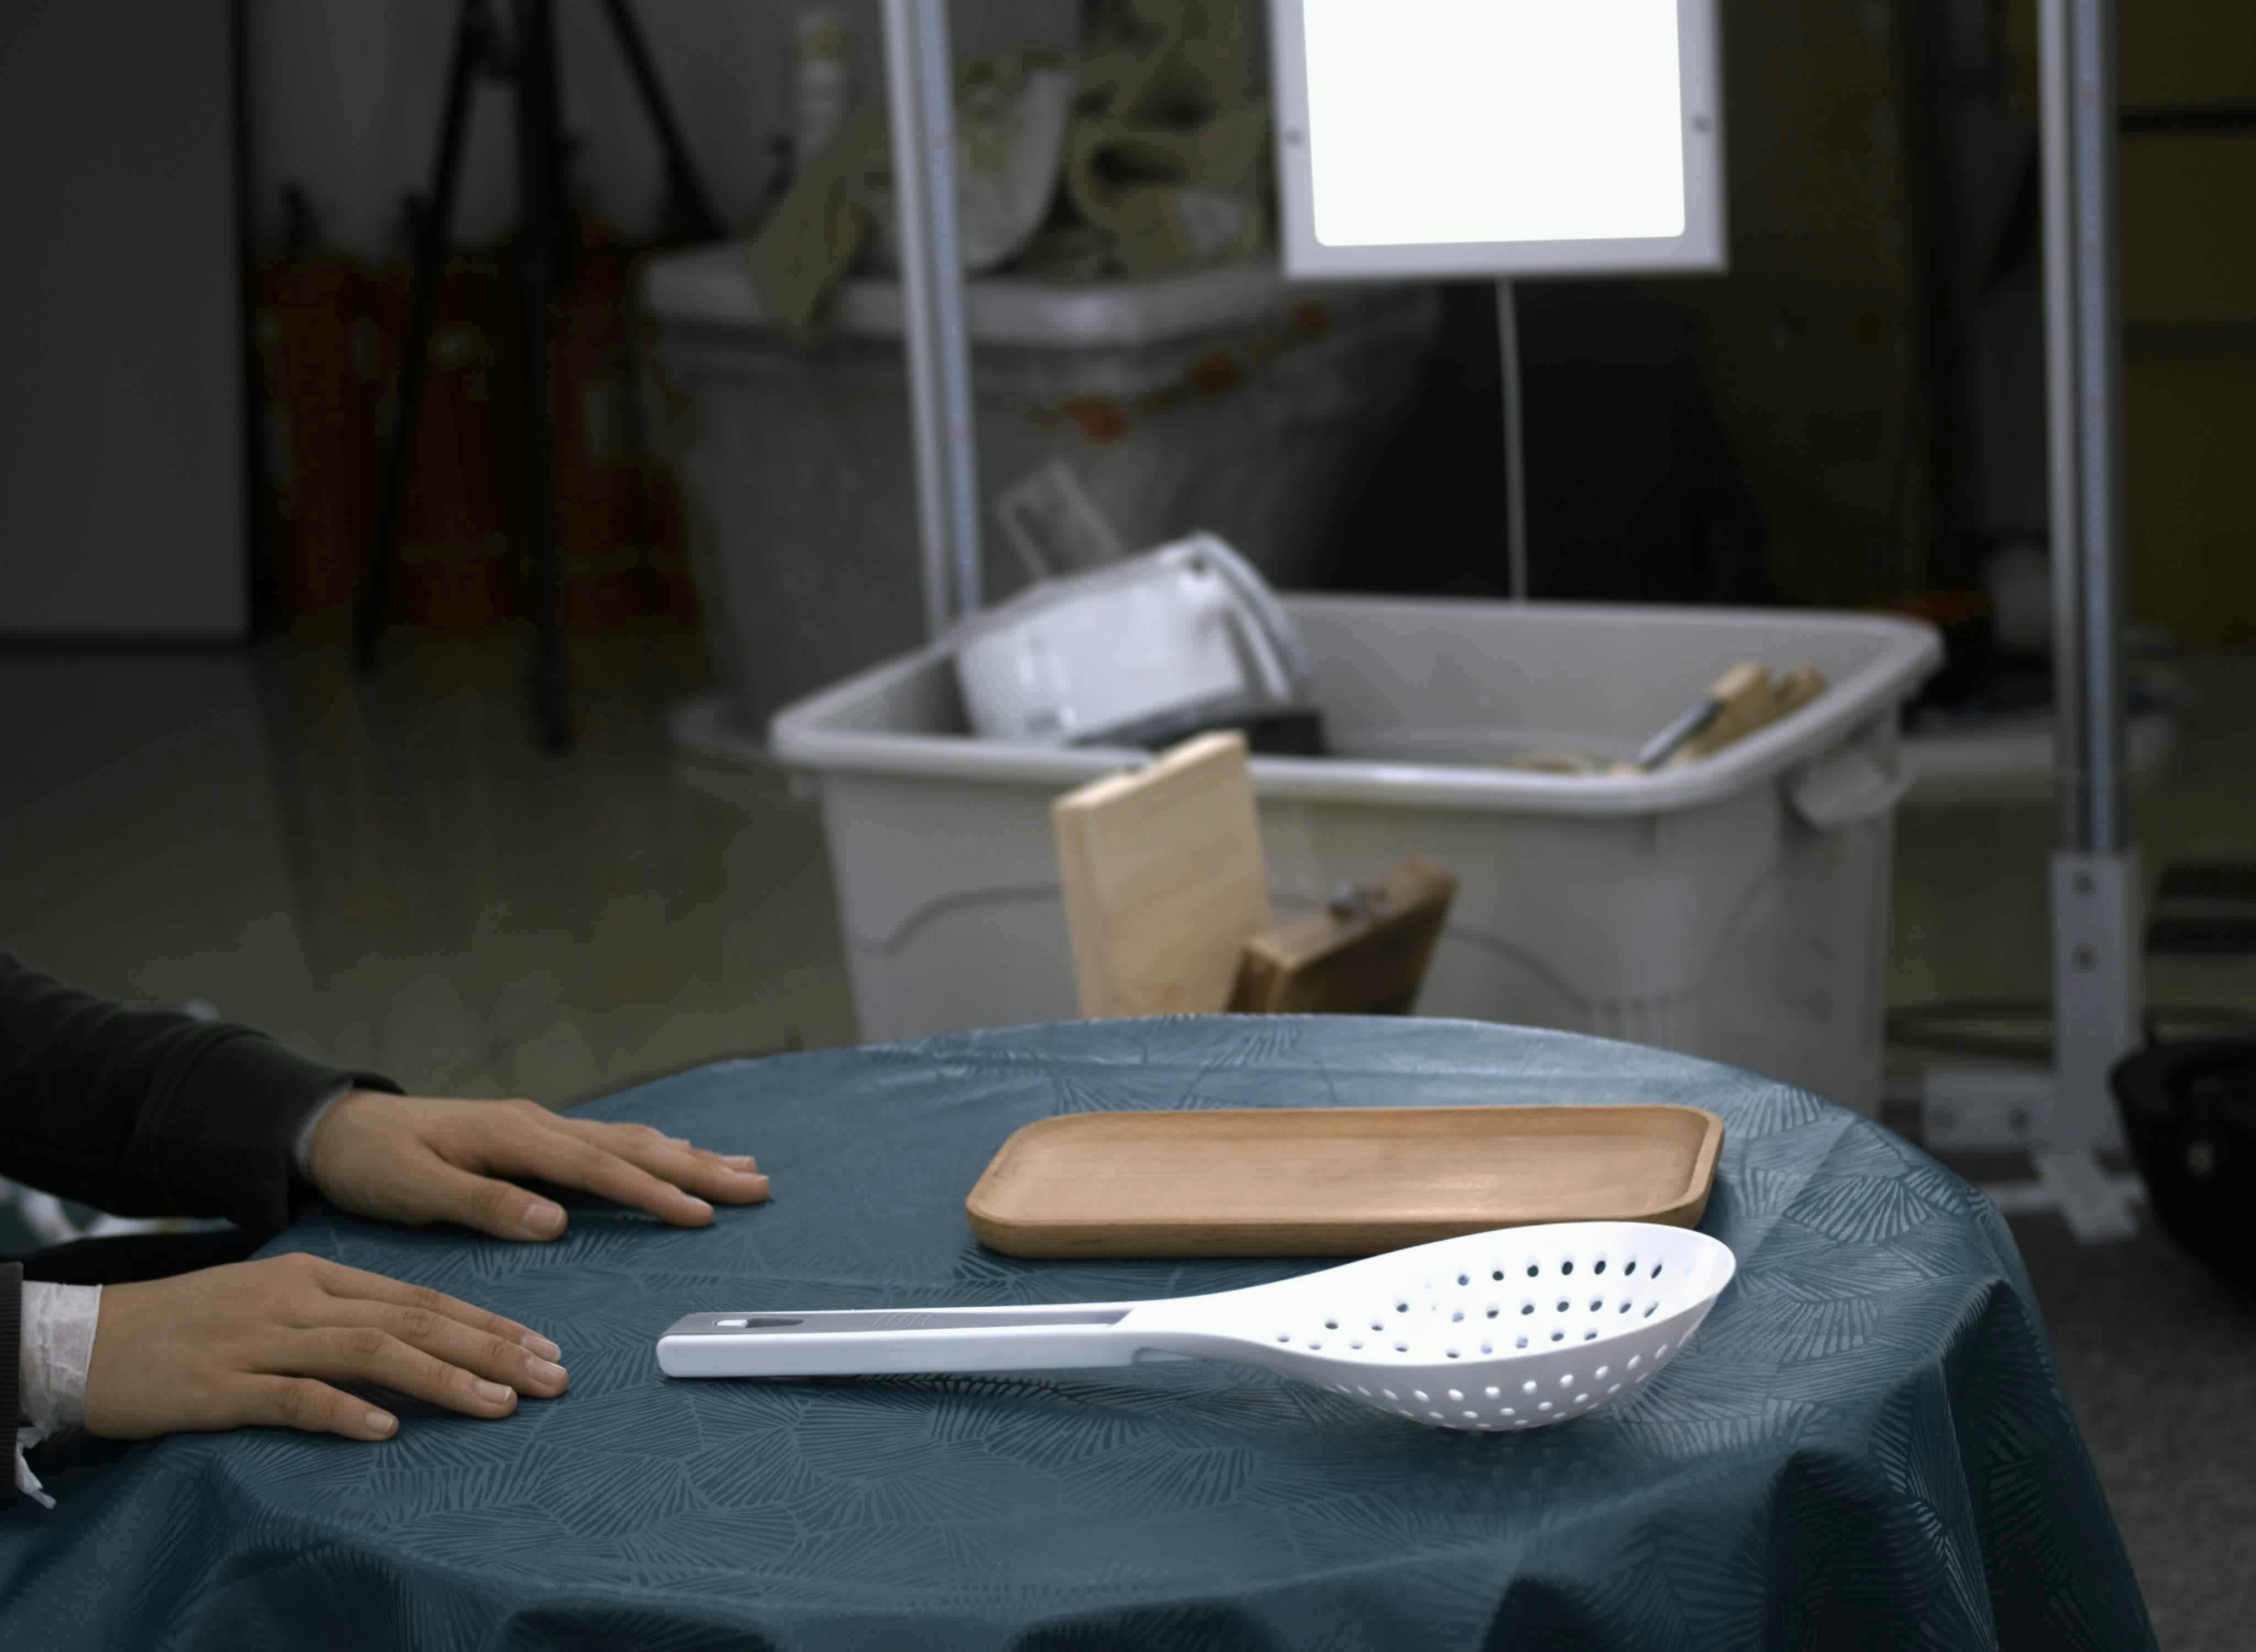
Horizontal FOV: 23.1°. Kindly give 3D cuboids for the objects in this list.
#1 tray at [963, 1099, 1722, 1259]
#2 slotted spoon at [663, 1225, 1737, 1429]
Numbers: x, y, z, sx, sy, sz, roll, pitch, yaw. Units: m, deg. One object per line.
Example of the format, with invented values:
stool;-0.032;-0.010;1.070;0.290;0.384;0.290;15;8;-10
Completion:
tray;0.074;0.120;1.863;0.253;0.023;0.129;-2;12;14
slotted spoon;0.016;0.153;1.686;0.355;0.046;0.133;0;12;23
